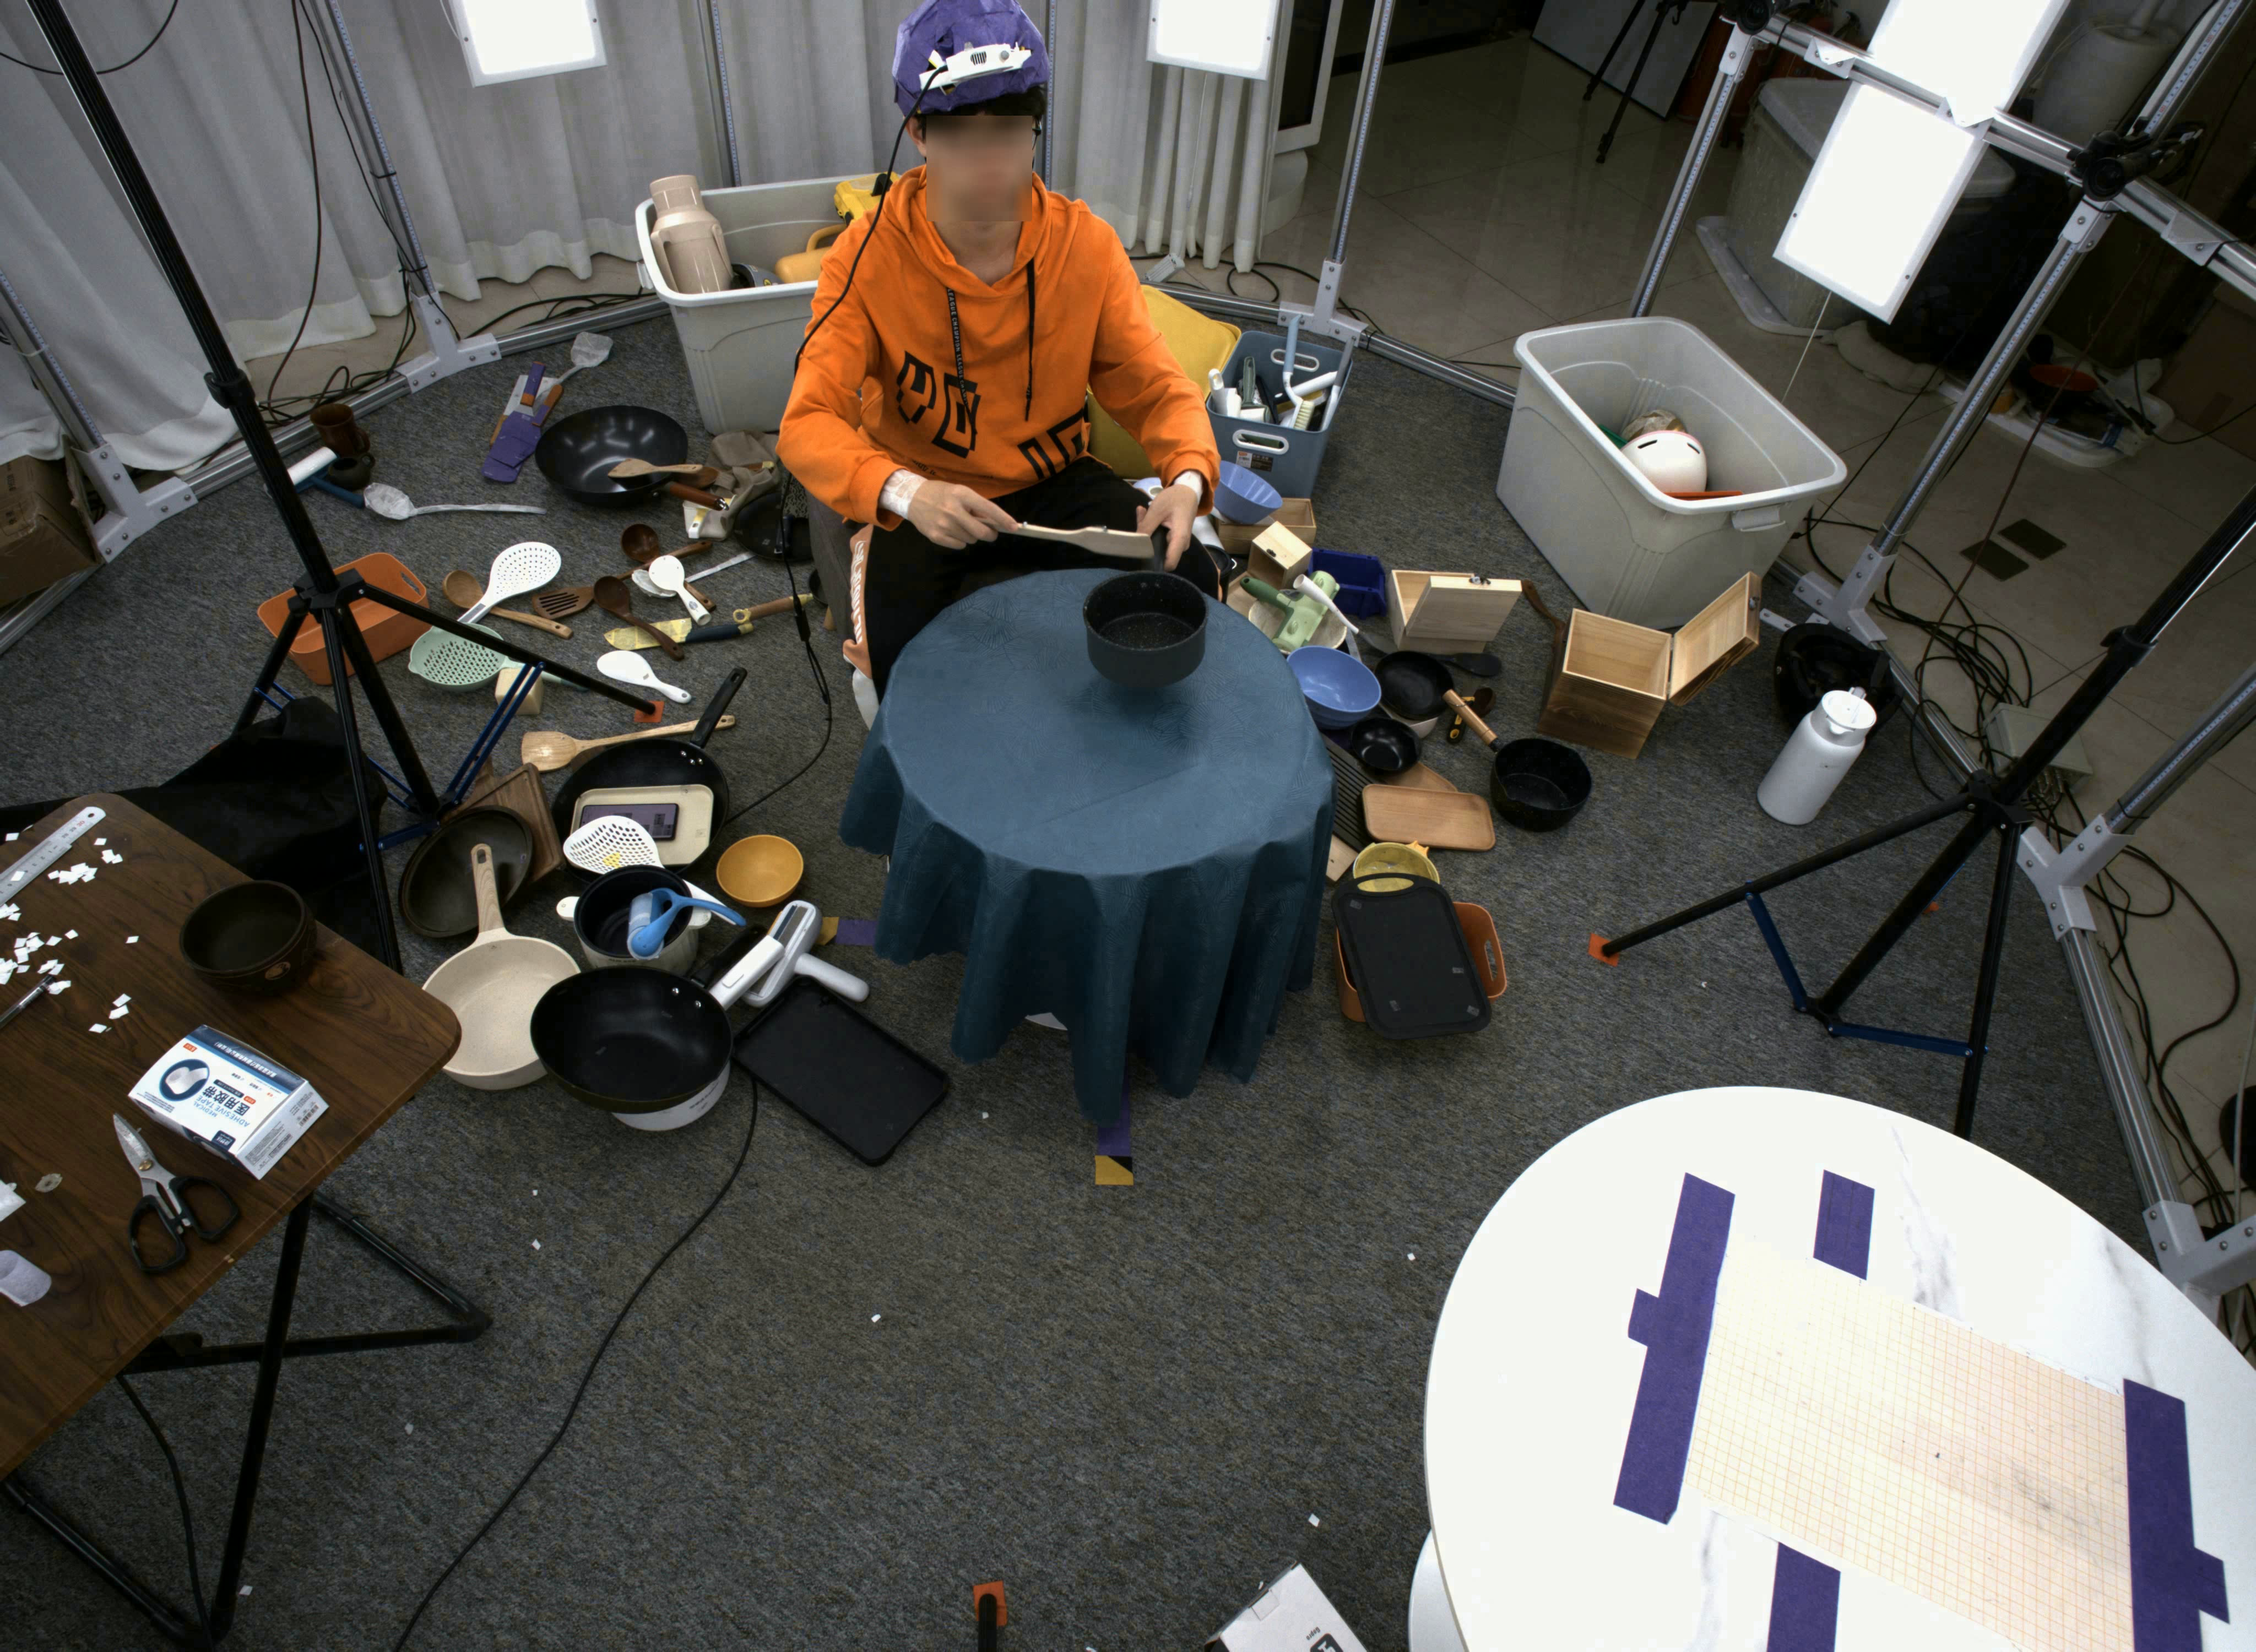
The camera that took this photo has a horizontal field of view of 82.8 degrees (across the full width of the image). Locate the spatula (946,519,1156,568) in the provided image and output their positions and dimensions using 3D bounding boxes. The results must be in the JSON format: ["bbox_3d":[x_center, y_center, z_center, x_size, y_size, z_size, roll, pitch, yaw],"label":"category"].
[{"bbox_3d":[-0.106,-0.386,1.744,0.294,0.071,0.011,11,78,9],"label":"spatula"}]

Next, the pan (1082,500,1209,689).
[{"bbox_3d":[0.035,-0.331,1.821,0.172,0.084,0.336,5,49,6],"label":"pan"}]
